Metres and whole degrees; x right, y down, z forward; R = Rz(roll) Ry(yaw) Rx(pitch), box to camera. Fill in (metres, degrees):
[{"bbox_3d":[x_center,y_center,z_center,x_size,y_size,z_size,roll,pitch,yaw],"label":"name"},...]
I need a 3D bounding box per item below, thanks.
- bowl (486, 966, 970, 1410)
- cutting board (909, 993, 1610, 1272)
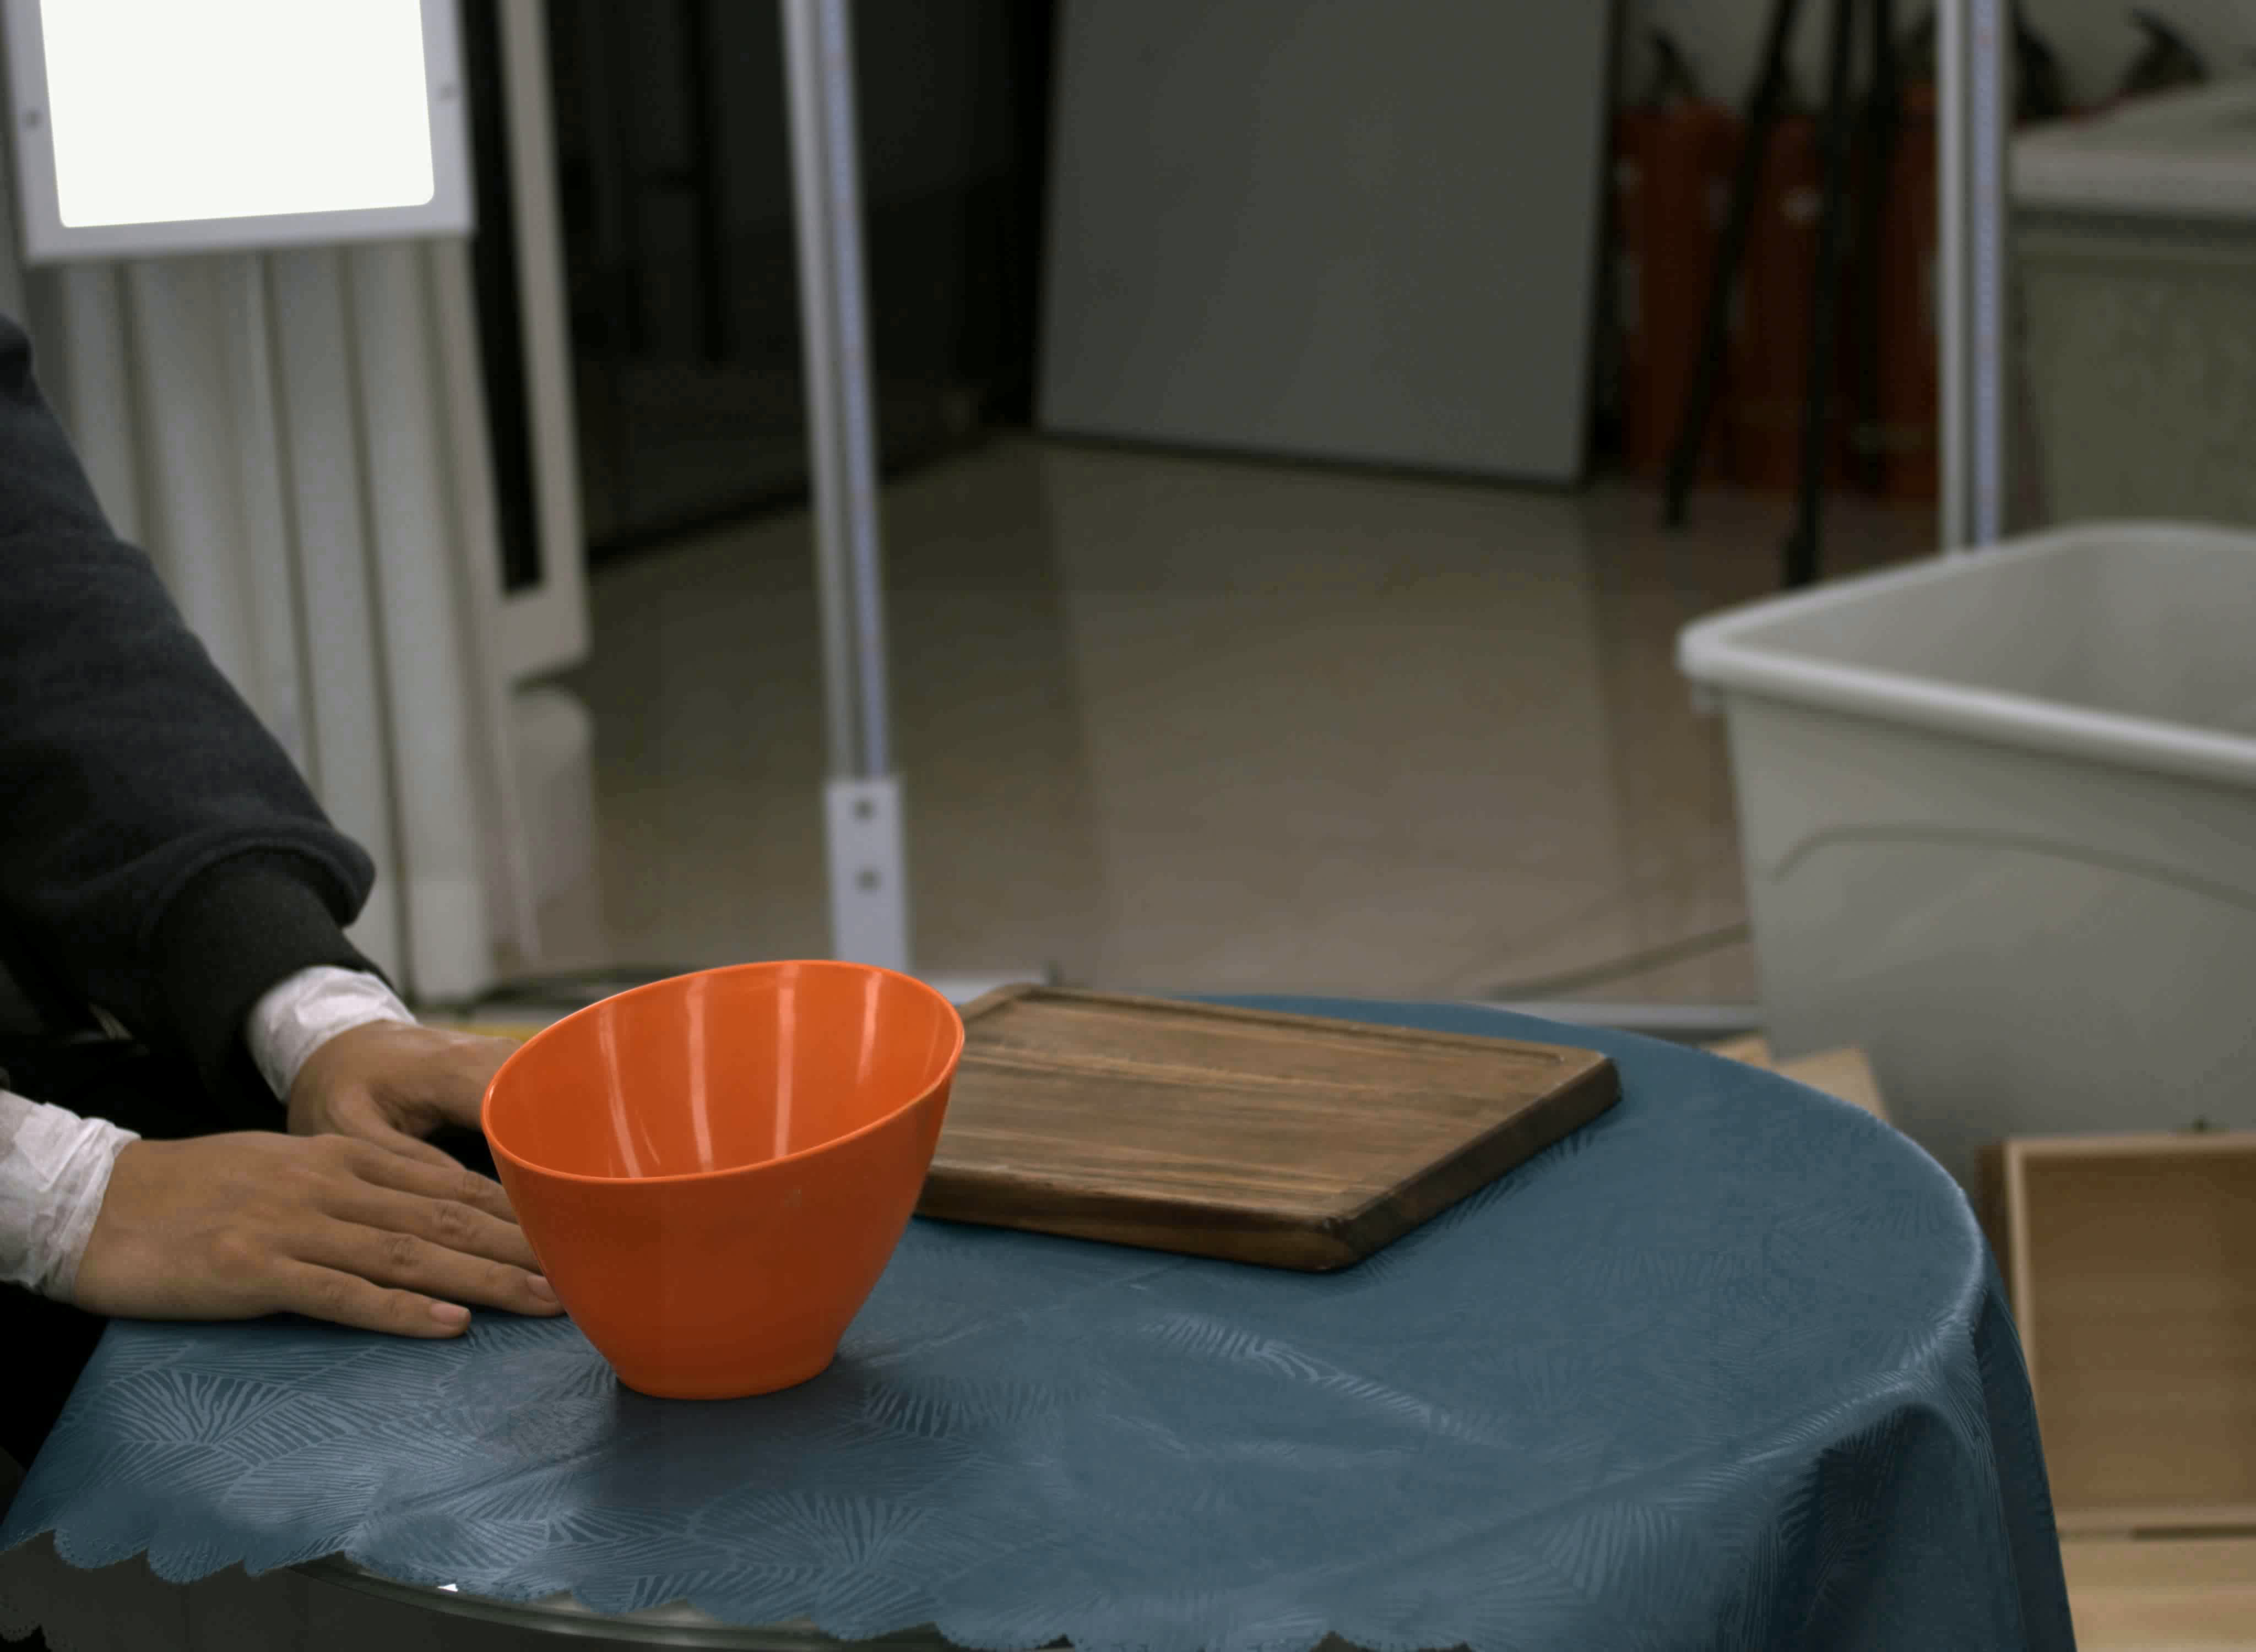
[{"bbox_3d":[-0.117,0.112,1.627,0.146,0.106,0.148,-4,13,0],"label":"bowl"},{"bbox_3d":[-0.029,0.096,1.840,0.354,0.023,0.198,5,16,33],"label":"cutting board"}]
